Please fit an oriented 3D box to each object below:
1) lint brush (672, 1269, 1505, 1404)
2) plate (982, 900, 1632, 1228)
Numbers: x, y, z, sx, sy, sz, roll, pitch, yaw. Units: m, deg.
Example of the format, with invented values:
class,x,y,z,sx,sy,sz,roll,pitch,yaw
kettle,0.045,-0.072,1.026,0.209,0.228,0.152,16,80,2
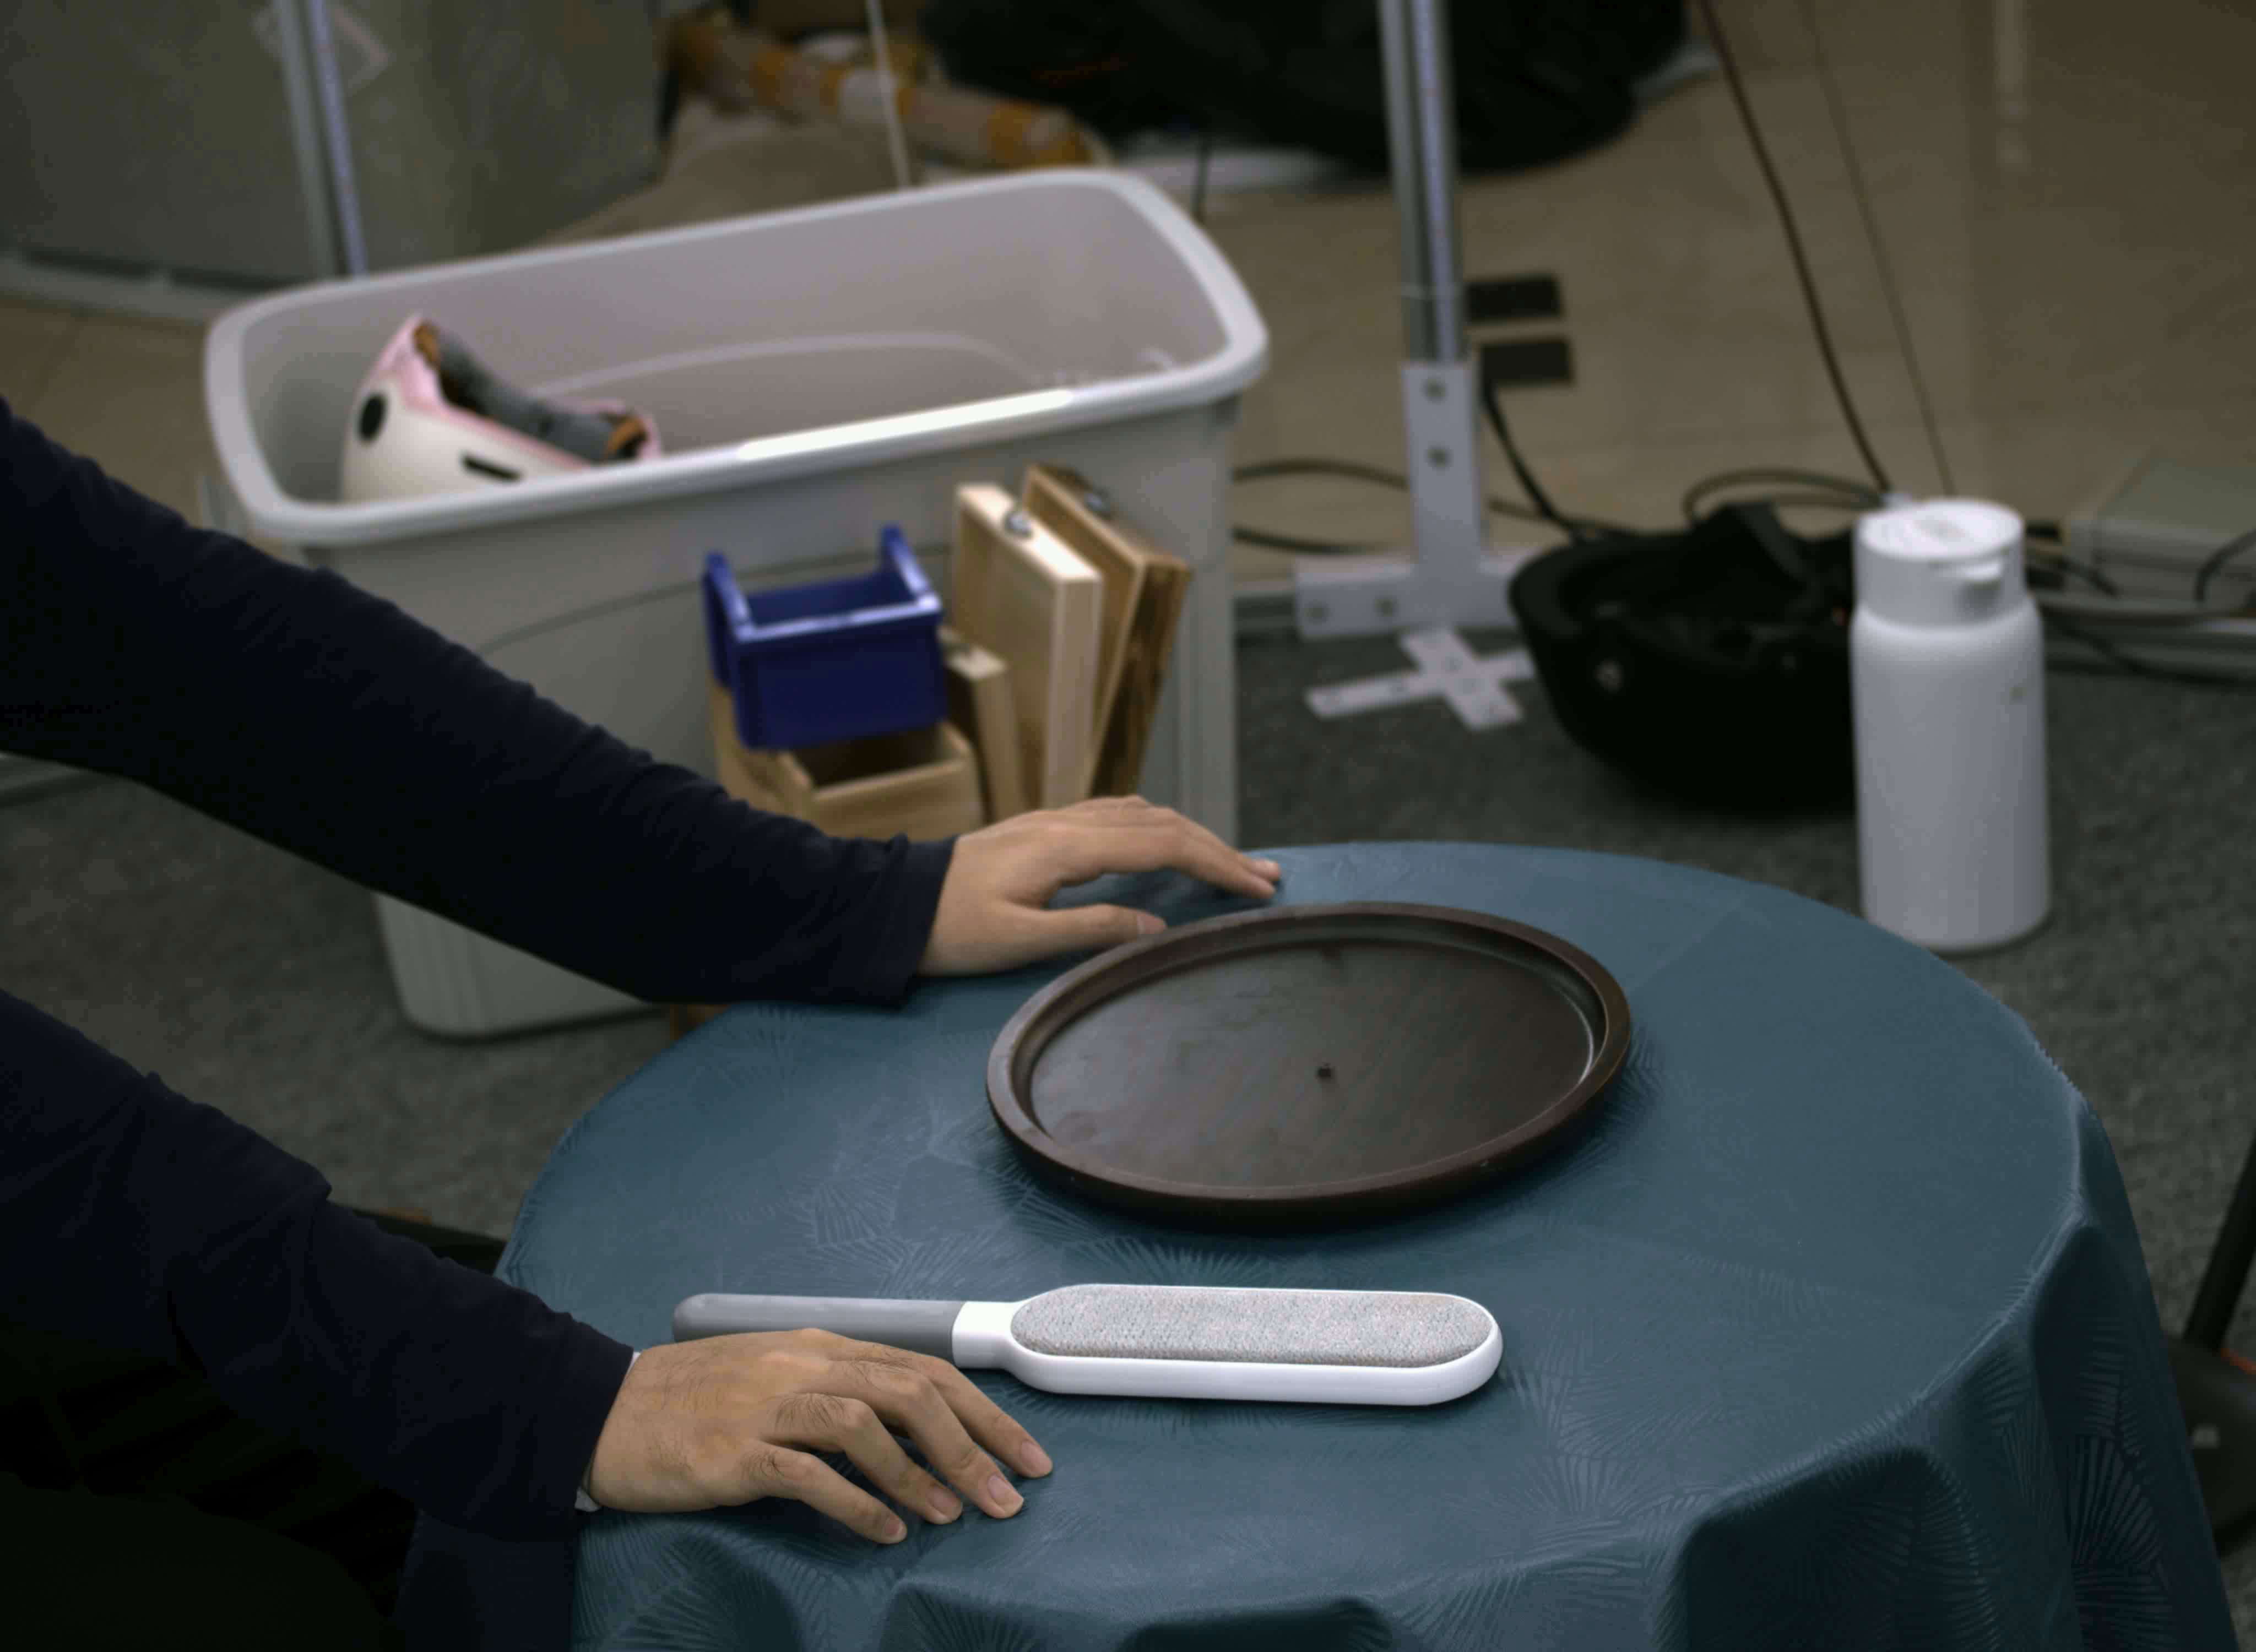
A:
class,x,y,z,sx,sy,sz,roll,pitch,yaw
lint brush,-0.018,0.180,2.035,0.308,0.021,0.059,1,31,16
plate,0.070,0.091,2.206,0.254,0.029,0.251,-5,23,2
